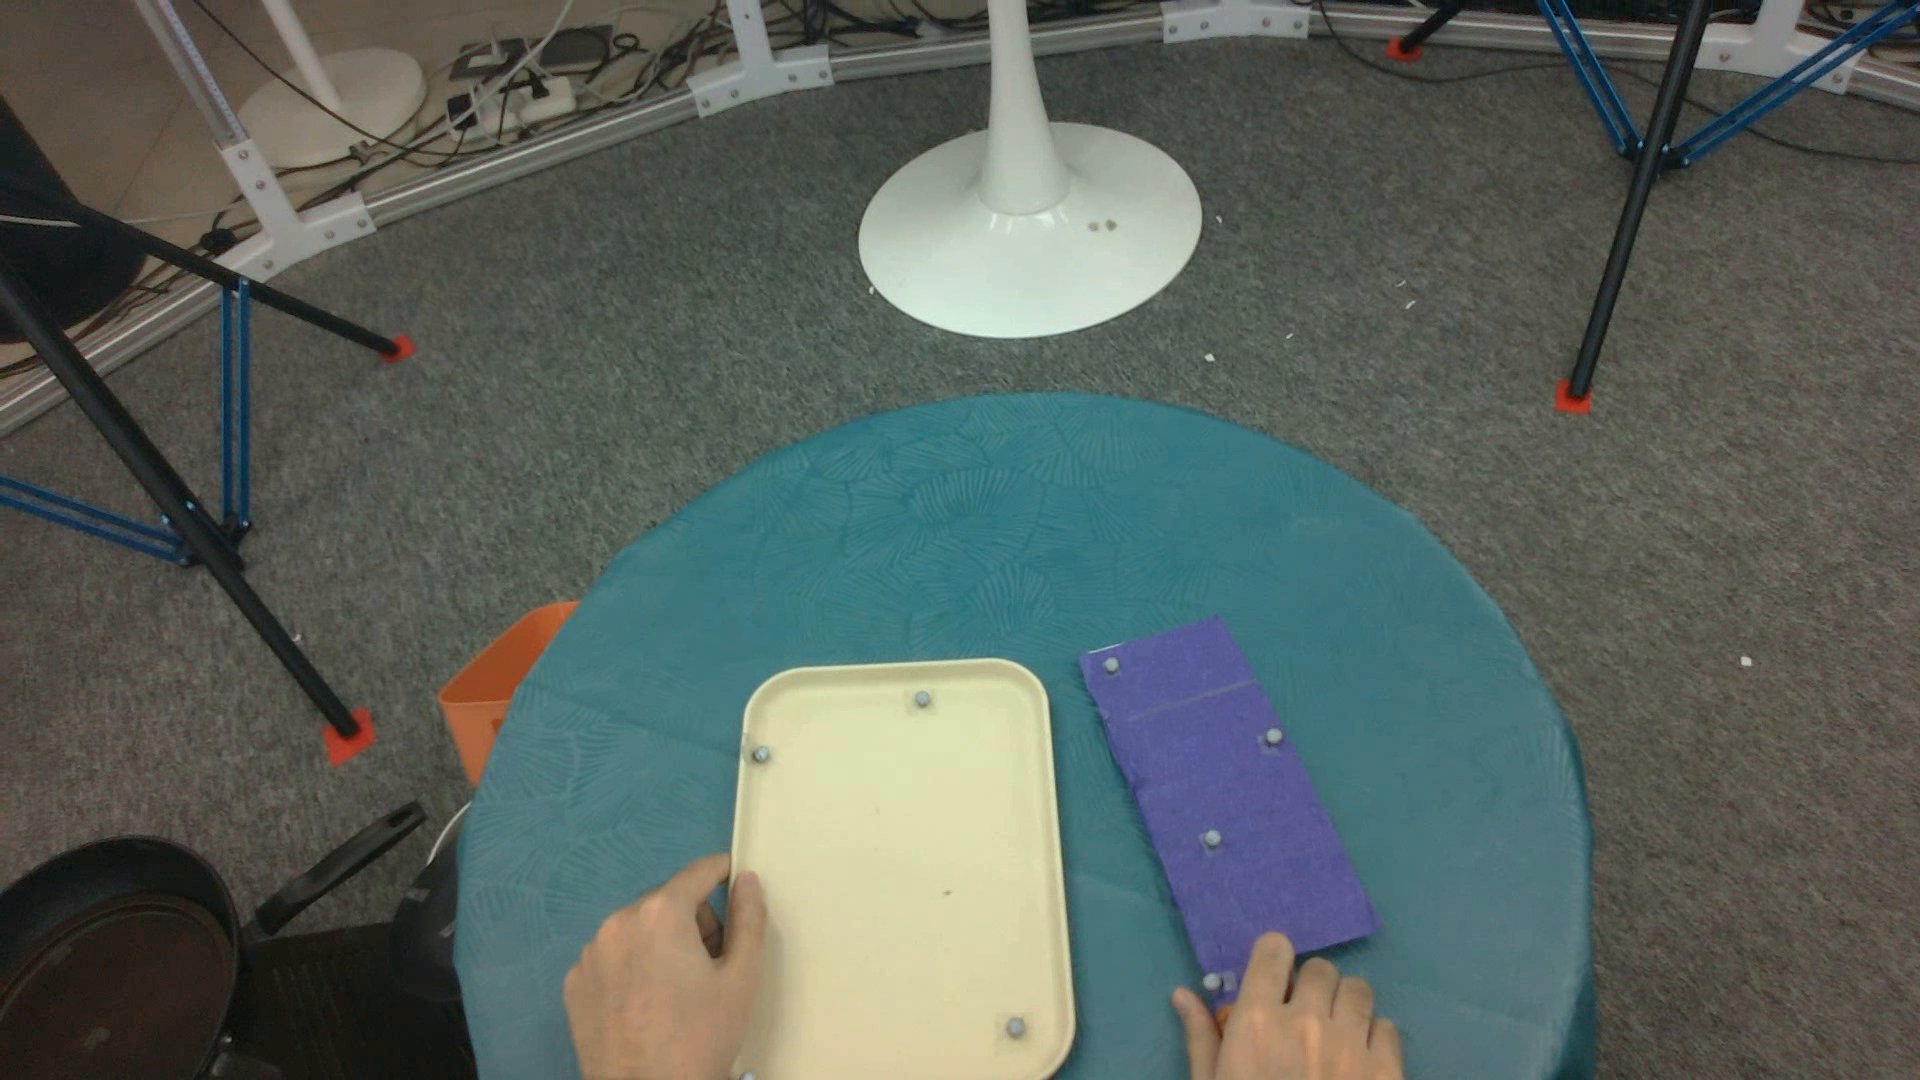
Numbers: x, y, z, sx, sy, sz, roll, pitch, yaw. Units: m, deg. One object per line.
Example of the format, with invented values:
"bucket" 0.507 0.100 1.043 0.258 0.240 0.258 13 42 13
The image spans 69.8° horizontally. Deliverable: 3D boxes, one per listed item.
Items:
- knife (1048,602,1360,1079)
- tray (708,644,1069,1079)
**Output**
"knife" 0.139 0.151 0.691 0.104 0.032 0.316 -16 49 -5
"tray" -0.037 0.157 0.709 0.171 0.017 0.241 -2 49 -1
